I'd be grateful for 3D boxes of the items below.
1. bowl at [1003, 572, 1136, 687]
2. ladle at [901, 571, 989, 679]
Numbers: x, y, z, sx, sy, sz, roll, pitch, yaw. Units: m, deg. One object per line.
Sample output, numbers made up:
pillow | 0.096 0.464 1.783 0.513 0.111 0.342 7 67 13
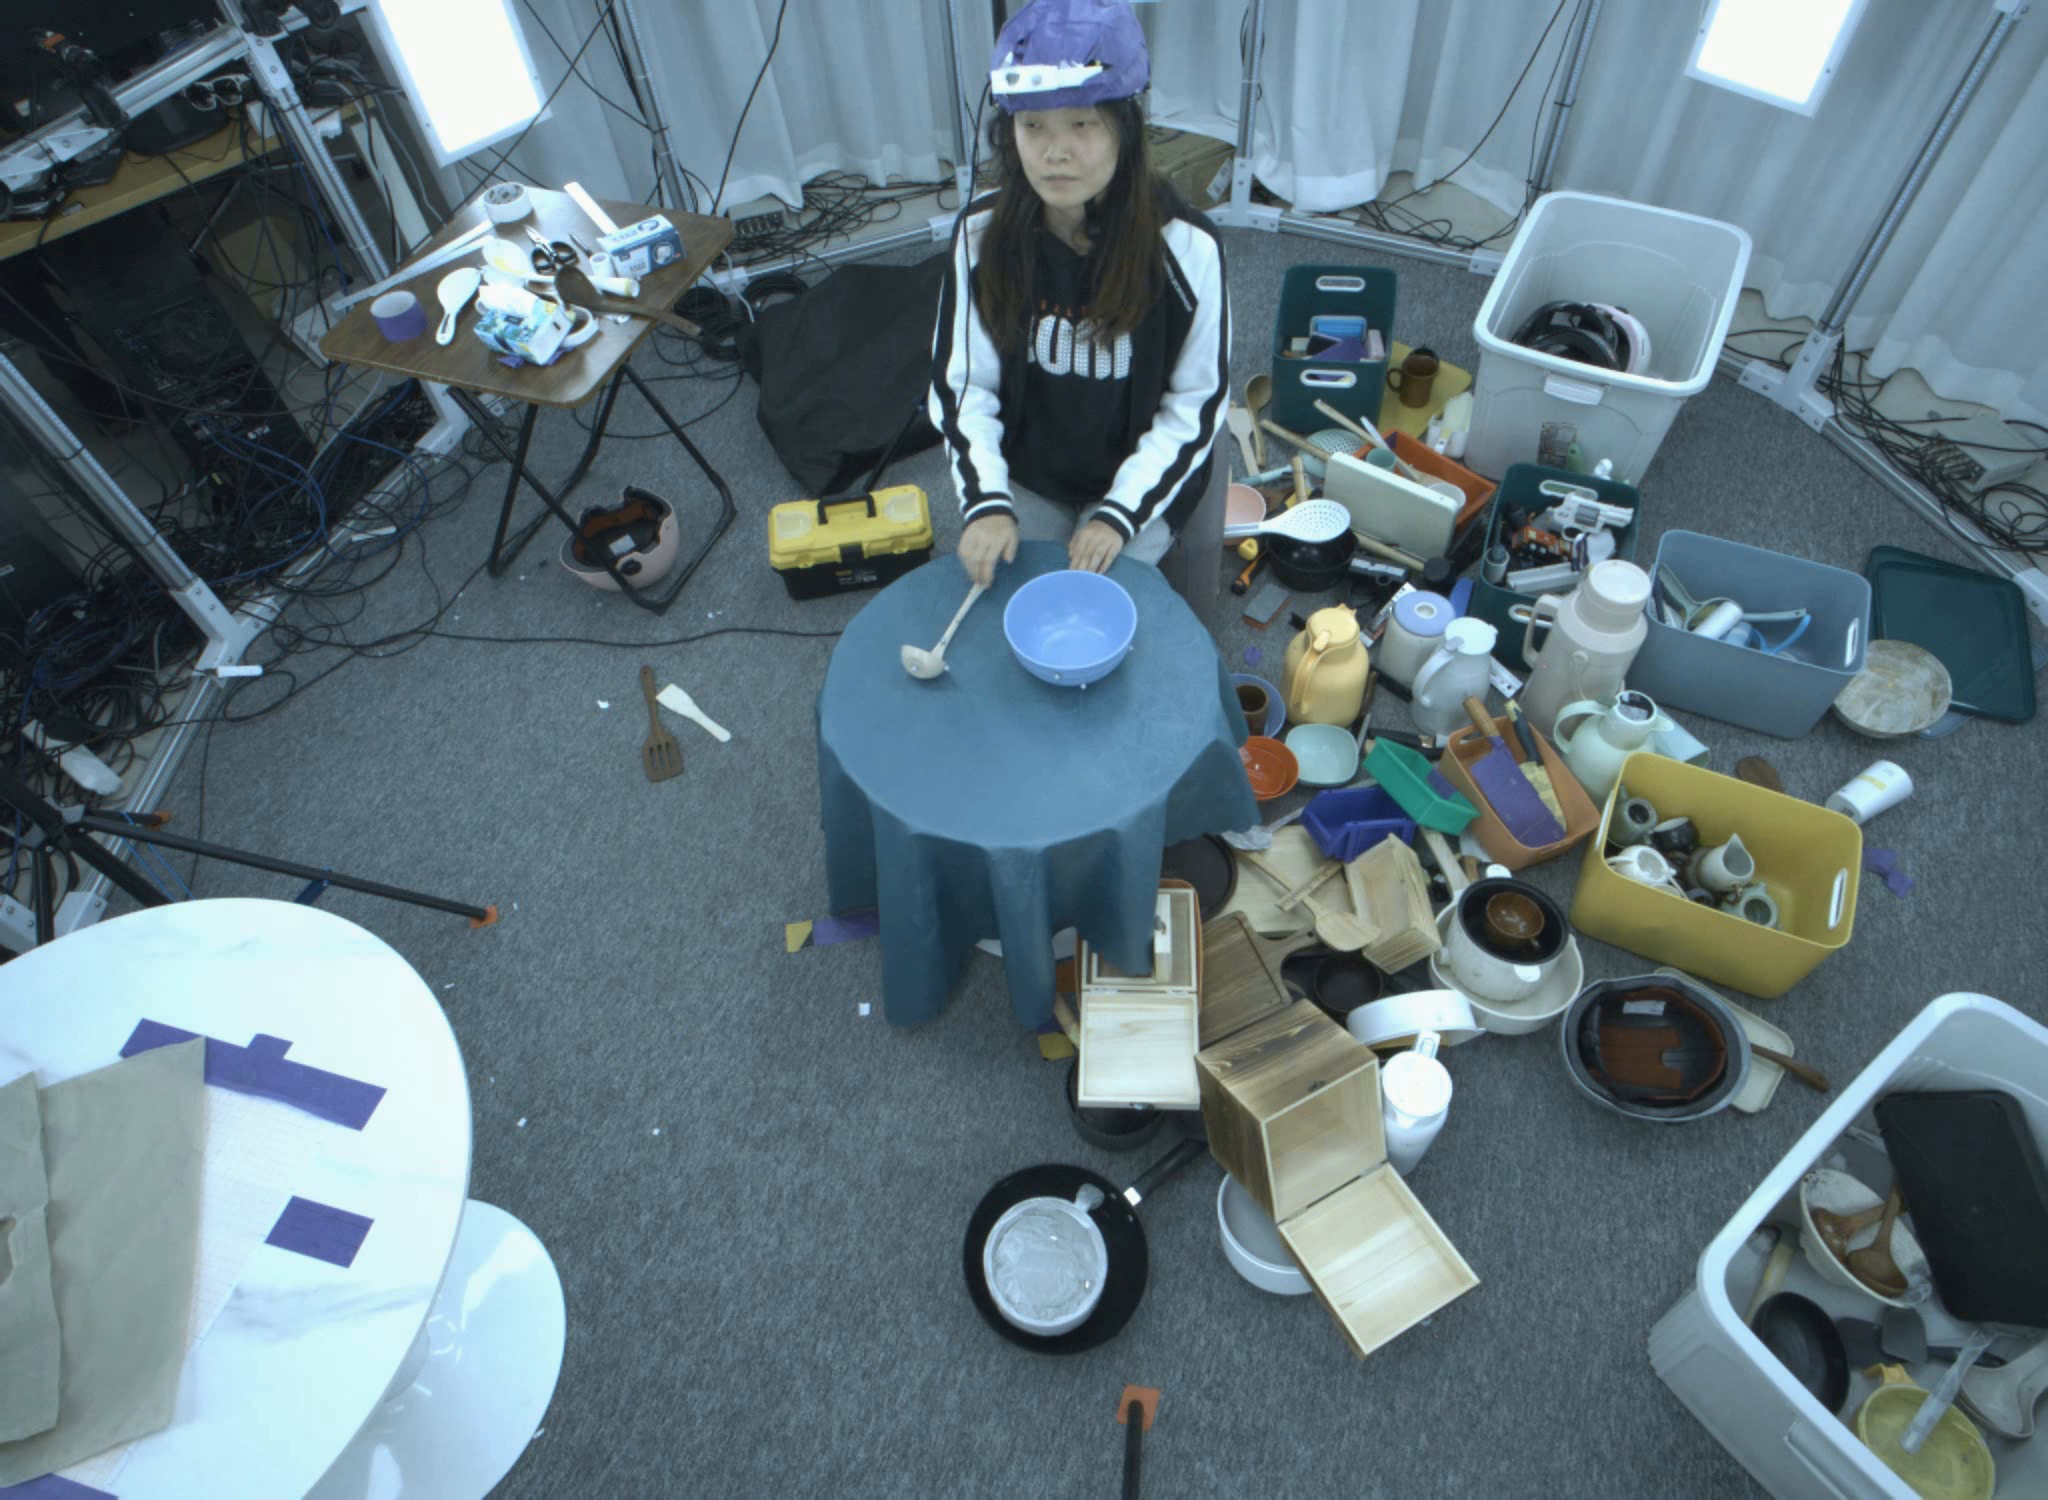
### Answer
bowl | 0.070 -0.166 1.849 0.196 0.096 0.194 -1 54 3
ladle | -0.113 -0.215 1.899 0.071 0.073 0.254 18 57 14
